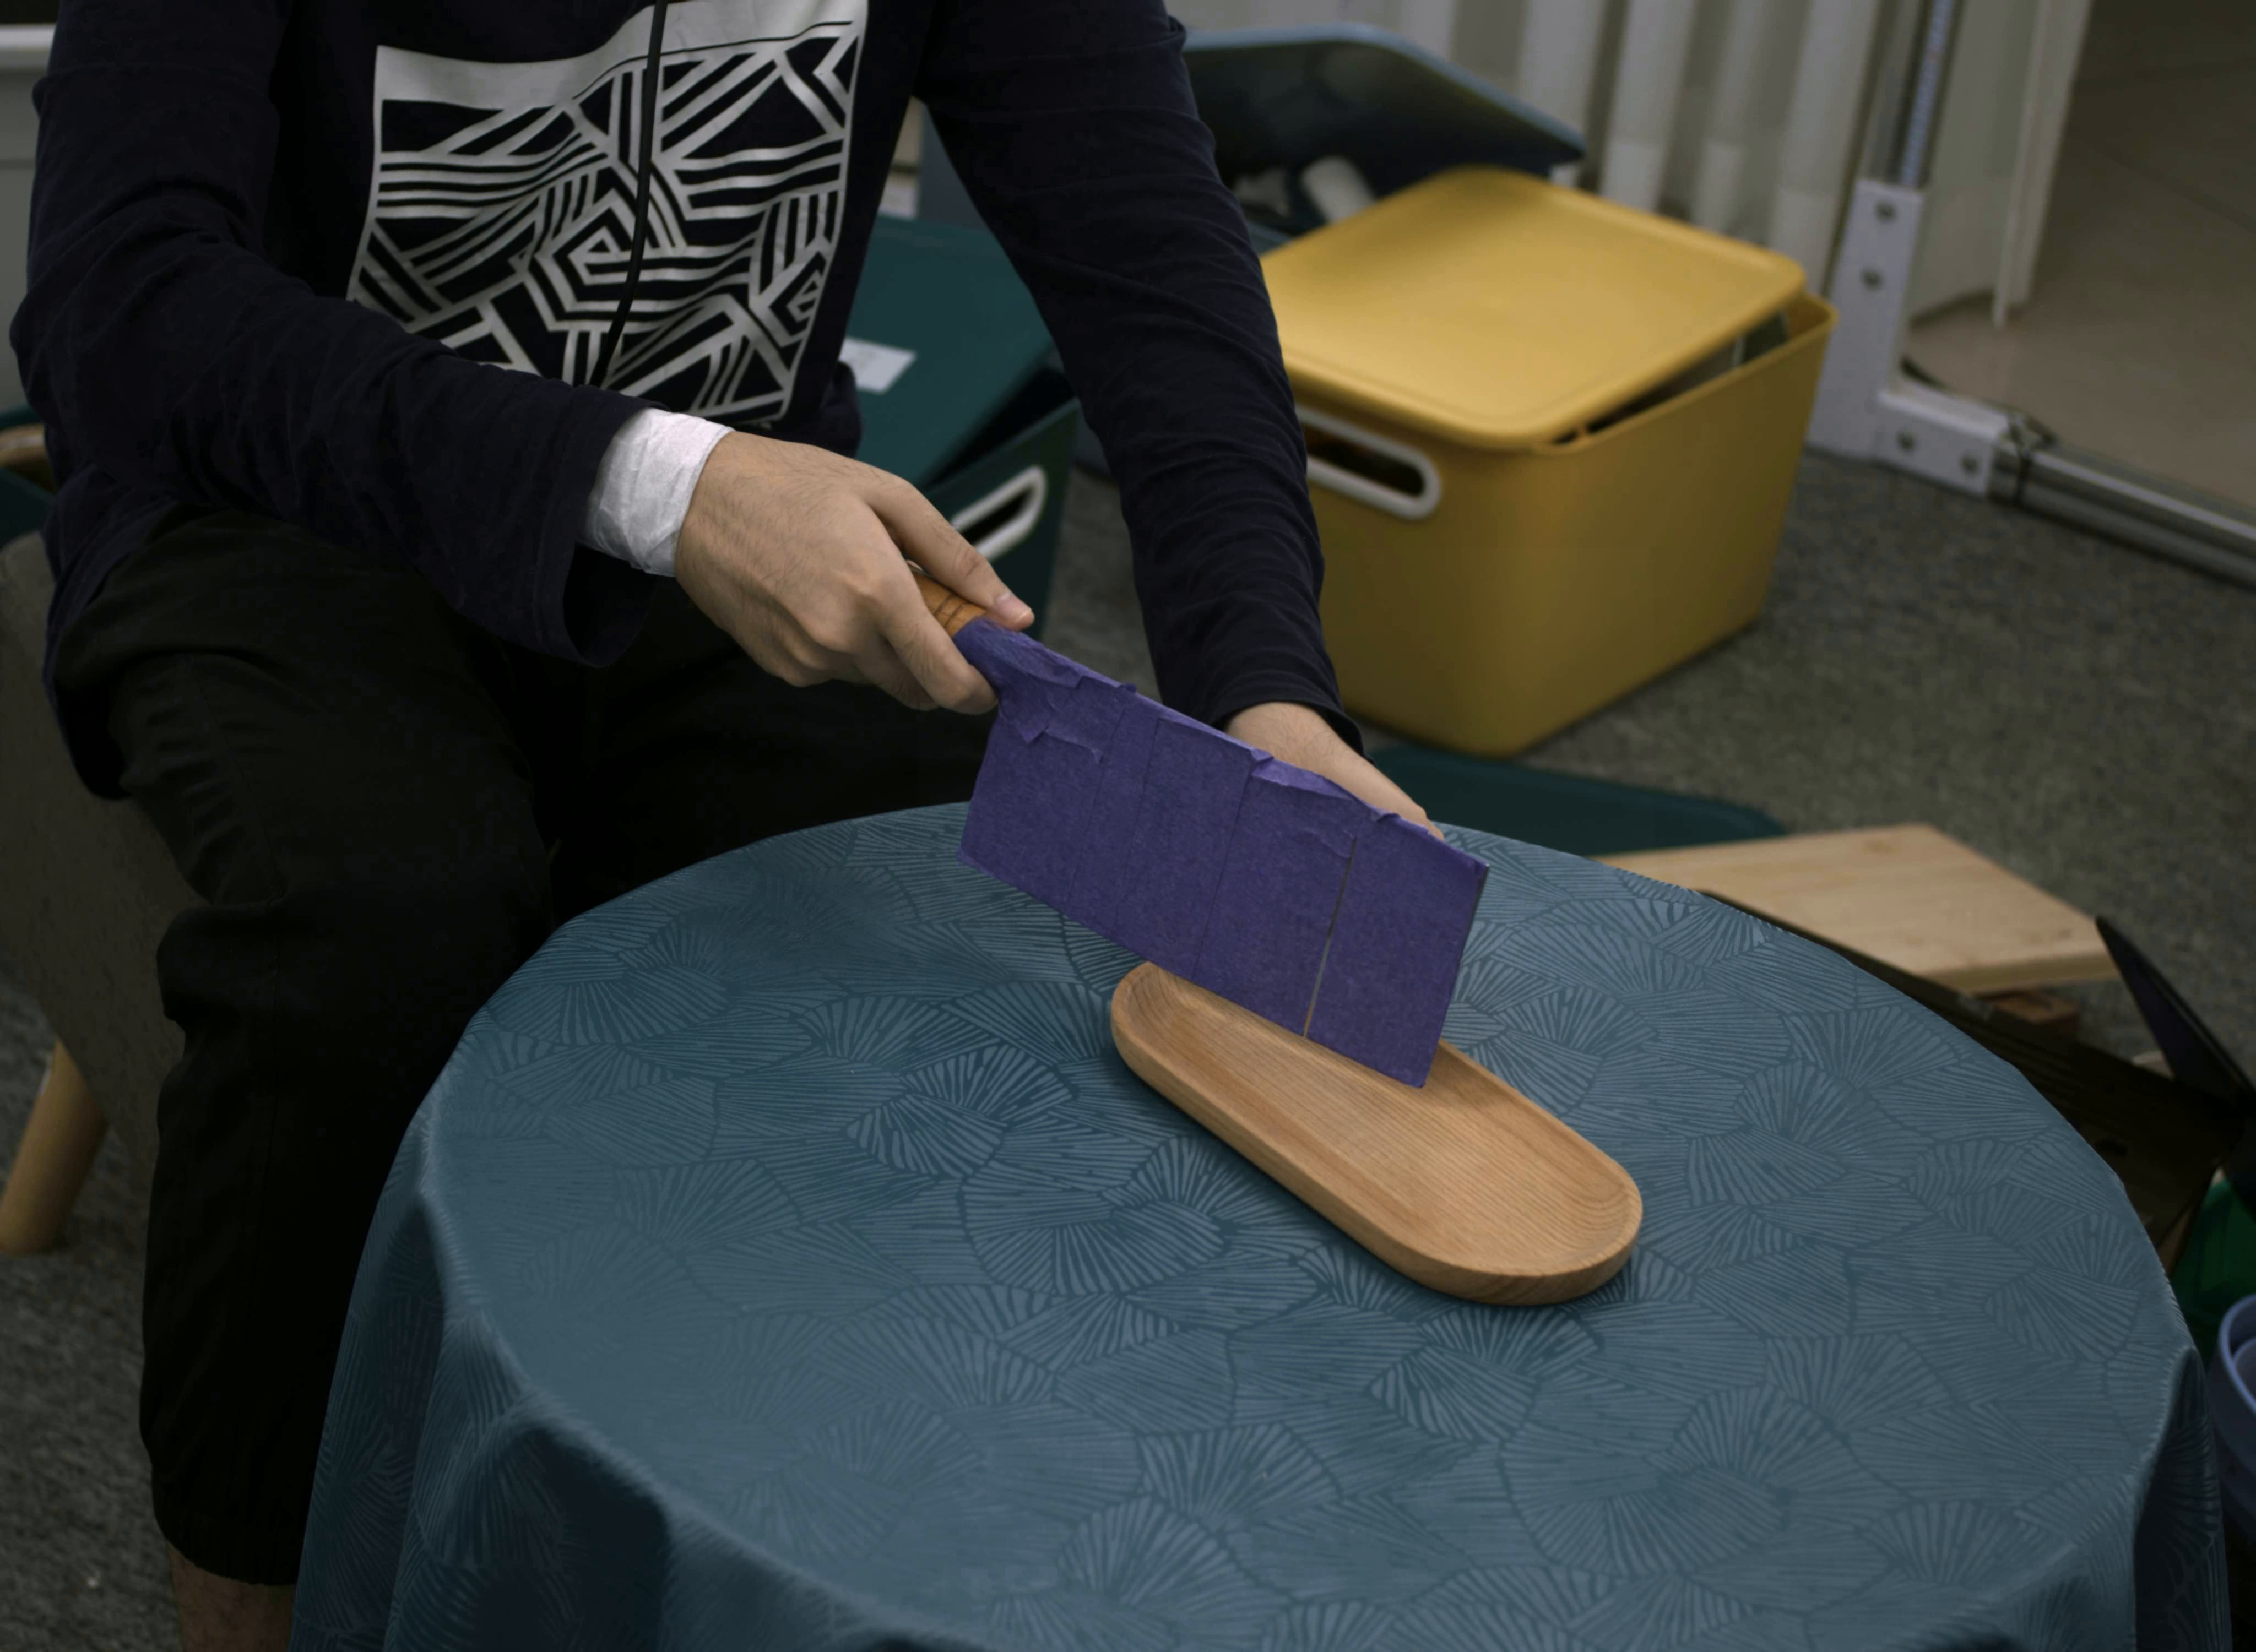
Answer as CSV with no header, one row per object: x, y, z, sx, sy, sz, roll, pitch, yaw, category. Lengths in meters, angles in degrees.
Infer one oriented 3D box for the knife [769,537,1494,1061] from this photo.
-0.011,-0.009,1.912,0.317,0.104,0.032,26,19,30,knife

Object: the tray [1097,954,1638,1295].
0.081,0.100,1.848,0.101,0.020,0.233,-16,34,-36,tray
